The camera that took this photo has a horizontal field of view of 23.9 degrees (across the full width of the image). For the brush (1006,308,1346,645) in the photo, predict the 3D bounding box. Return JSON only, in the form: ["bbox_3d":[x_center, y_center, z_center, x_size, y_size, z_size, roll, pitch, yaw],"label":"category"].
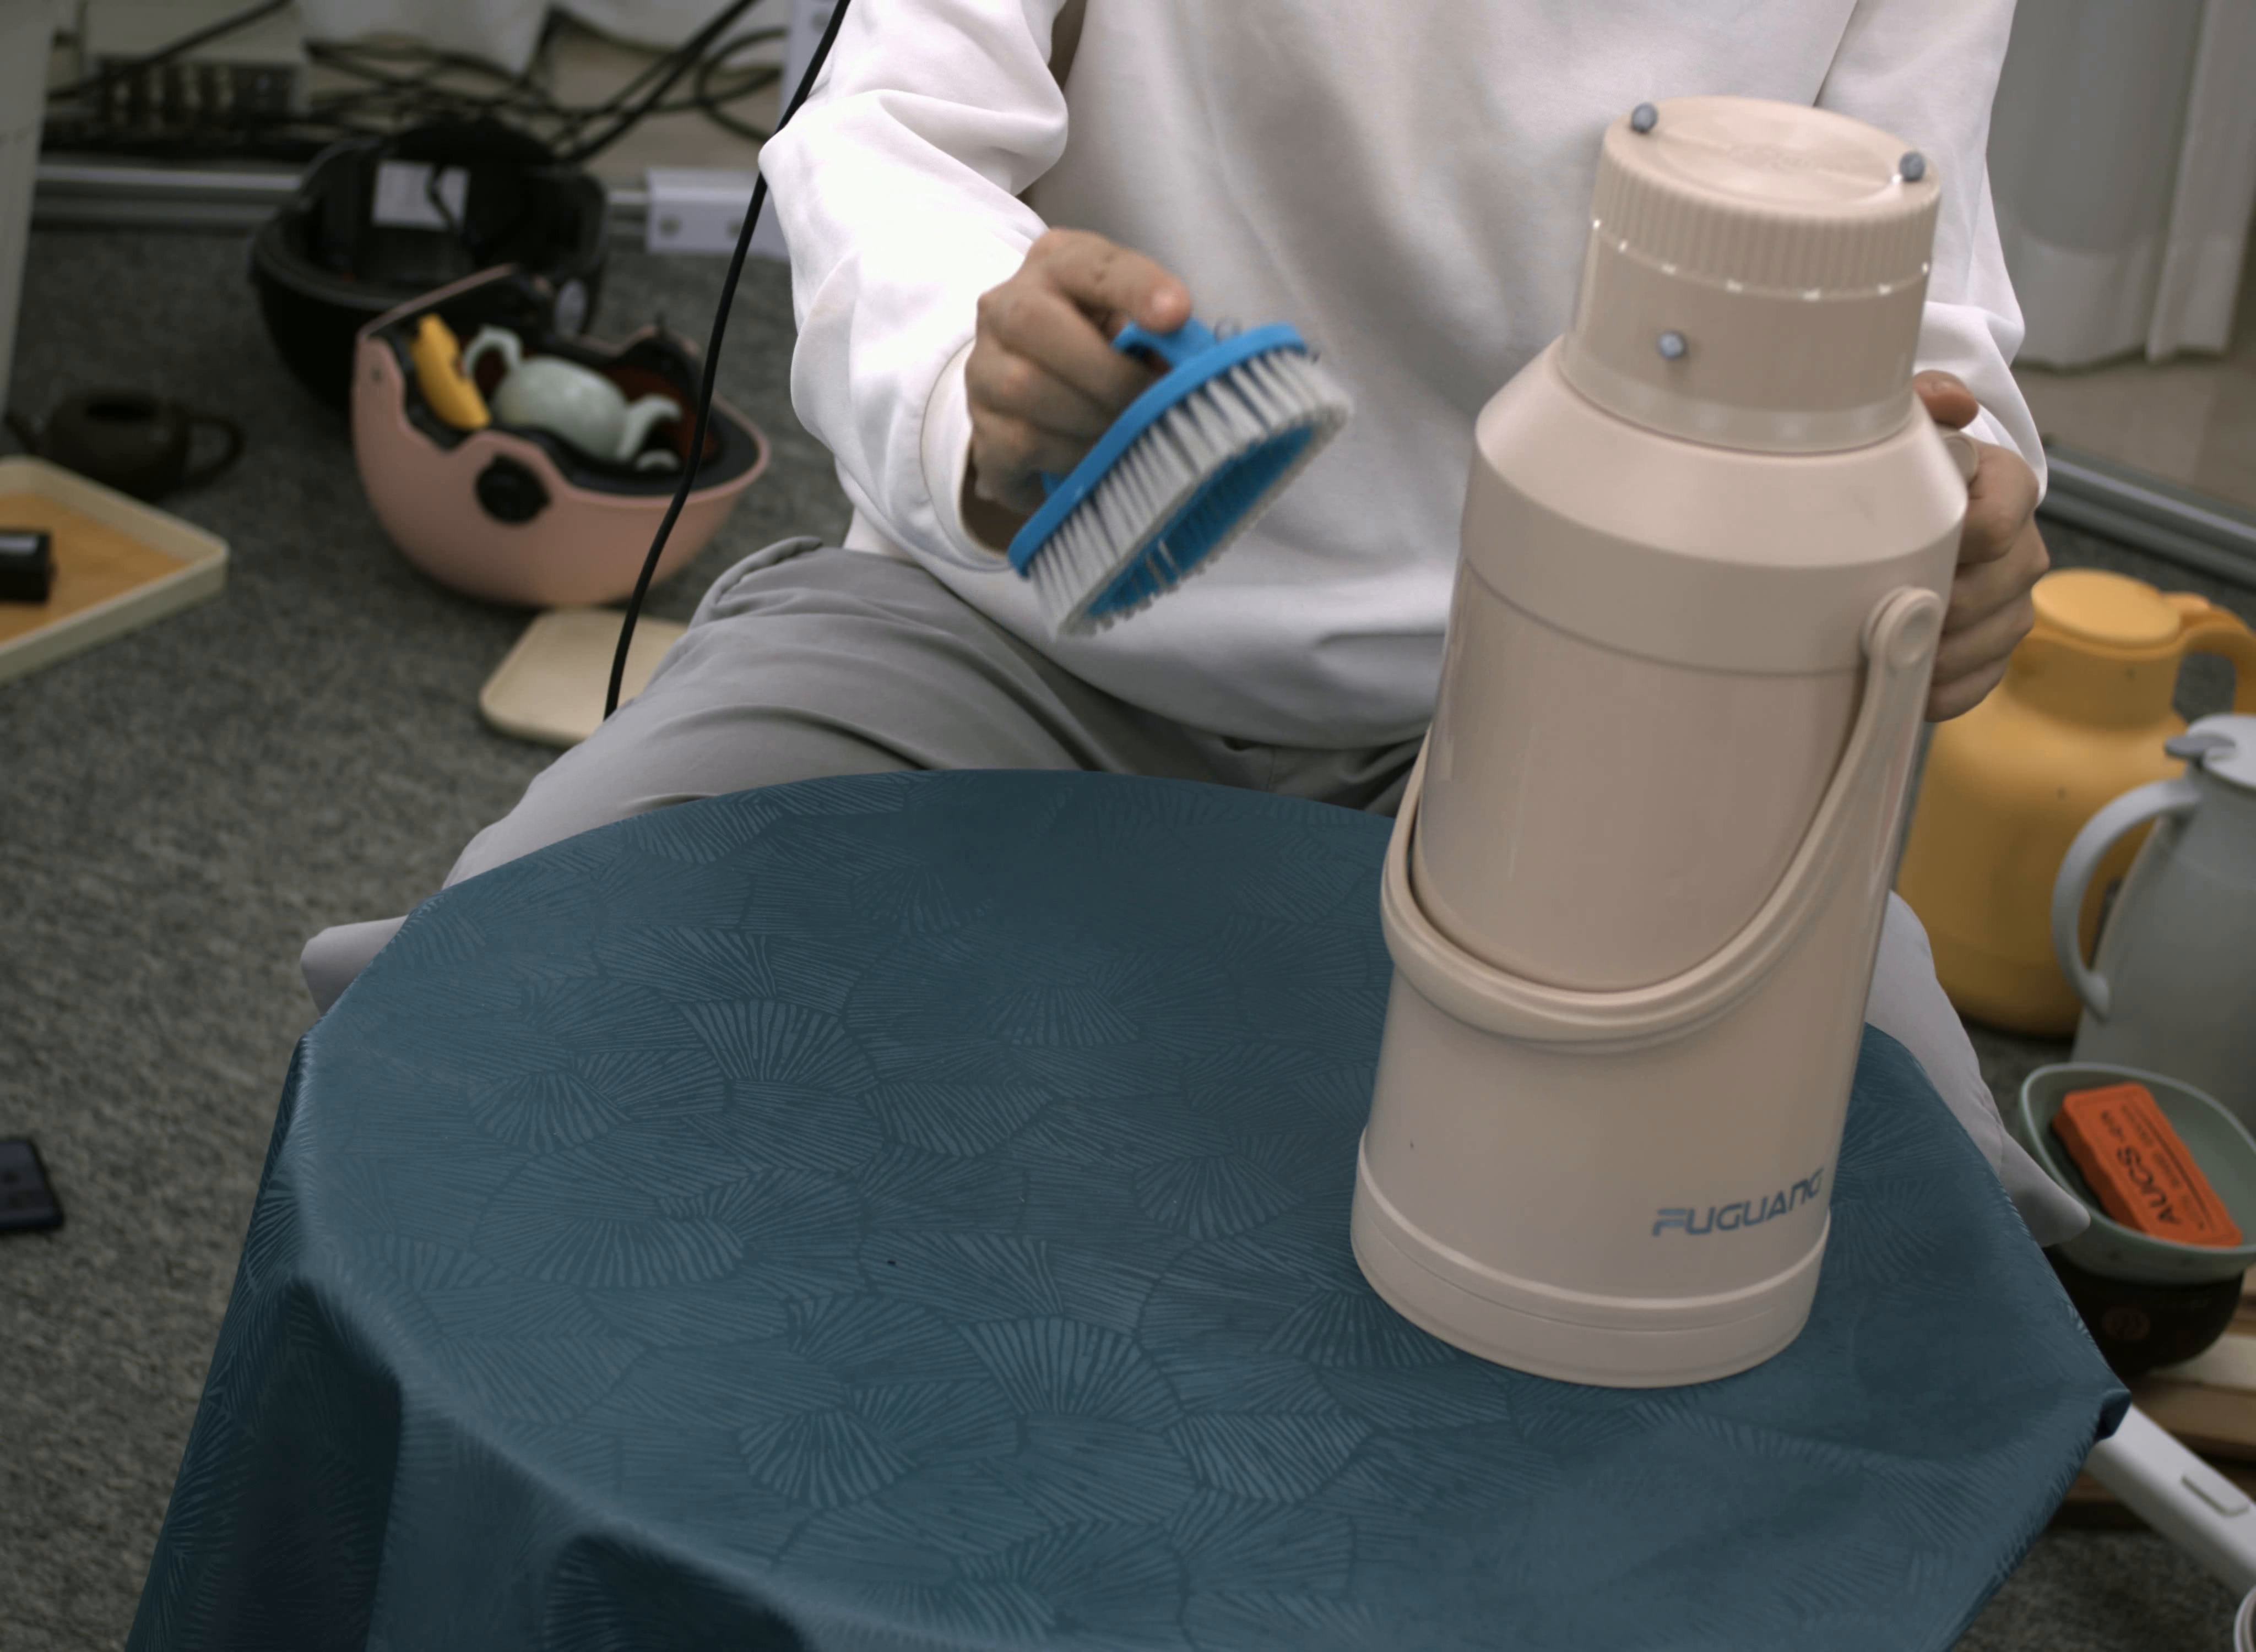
[{"bbox_3d":[0.005,-0.119,1.681,0.084,0.141,0.064,-30,79,-38],"label":"brush"}]

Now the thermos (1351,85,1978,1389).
[{"bbox_3d":[0.187,-0.031,1.717,0.206,0.405,0.177,-16,33,-39],"label":"thermos"}]
